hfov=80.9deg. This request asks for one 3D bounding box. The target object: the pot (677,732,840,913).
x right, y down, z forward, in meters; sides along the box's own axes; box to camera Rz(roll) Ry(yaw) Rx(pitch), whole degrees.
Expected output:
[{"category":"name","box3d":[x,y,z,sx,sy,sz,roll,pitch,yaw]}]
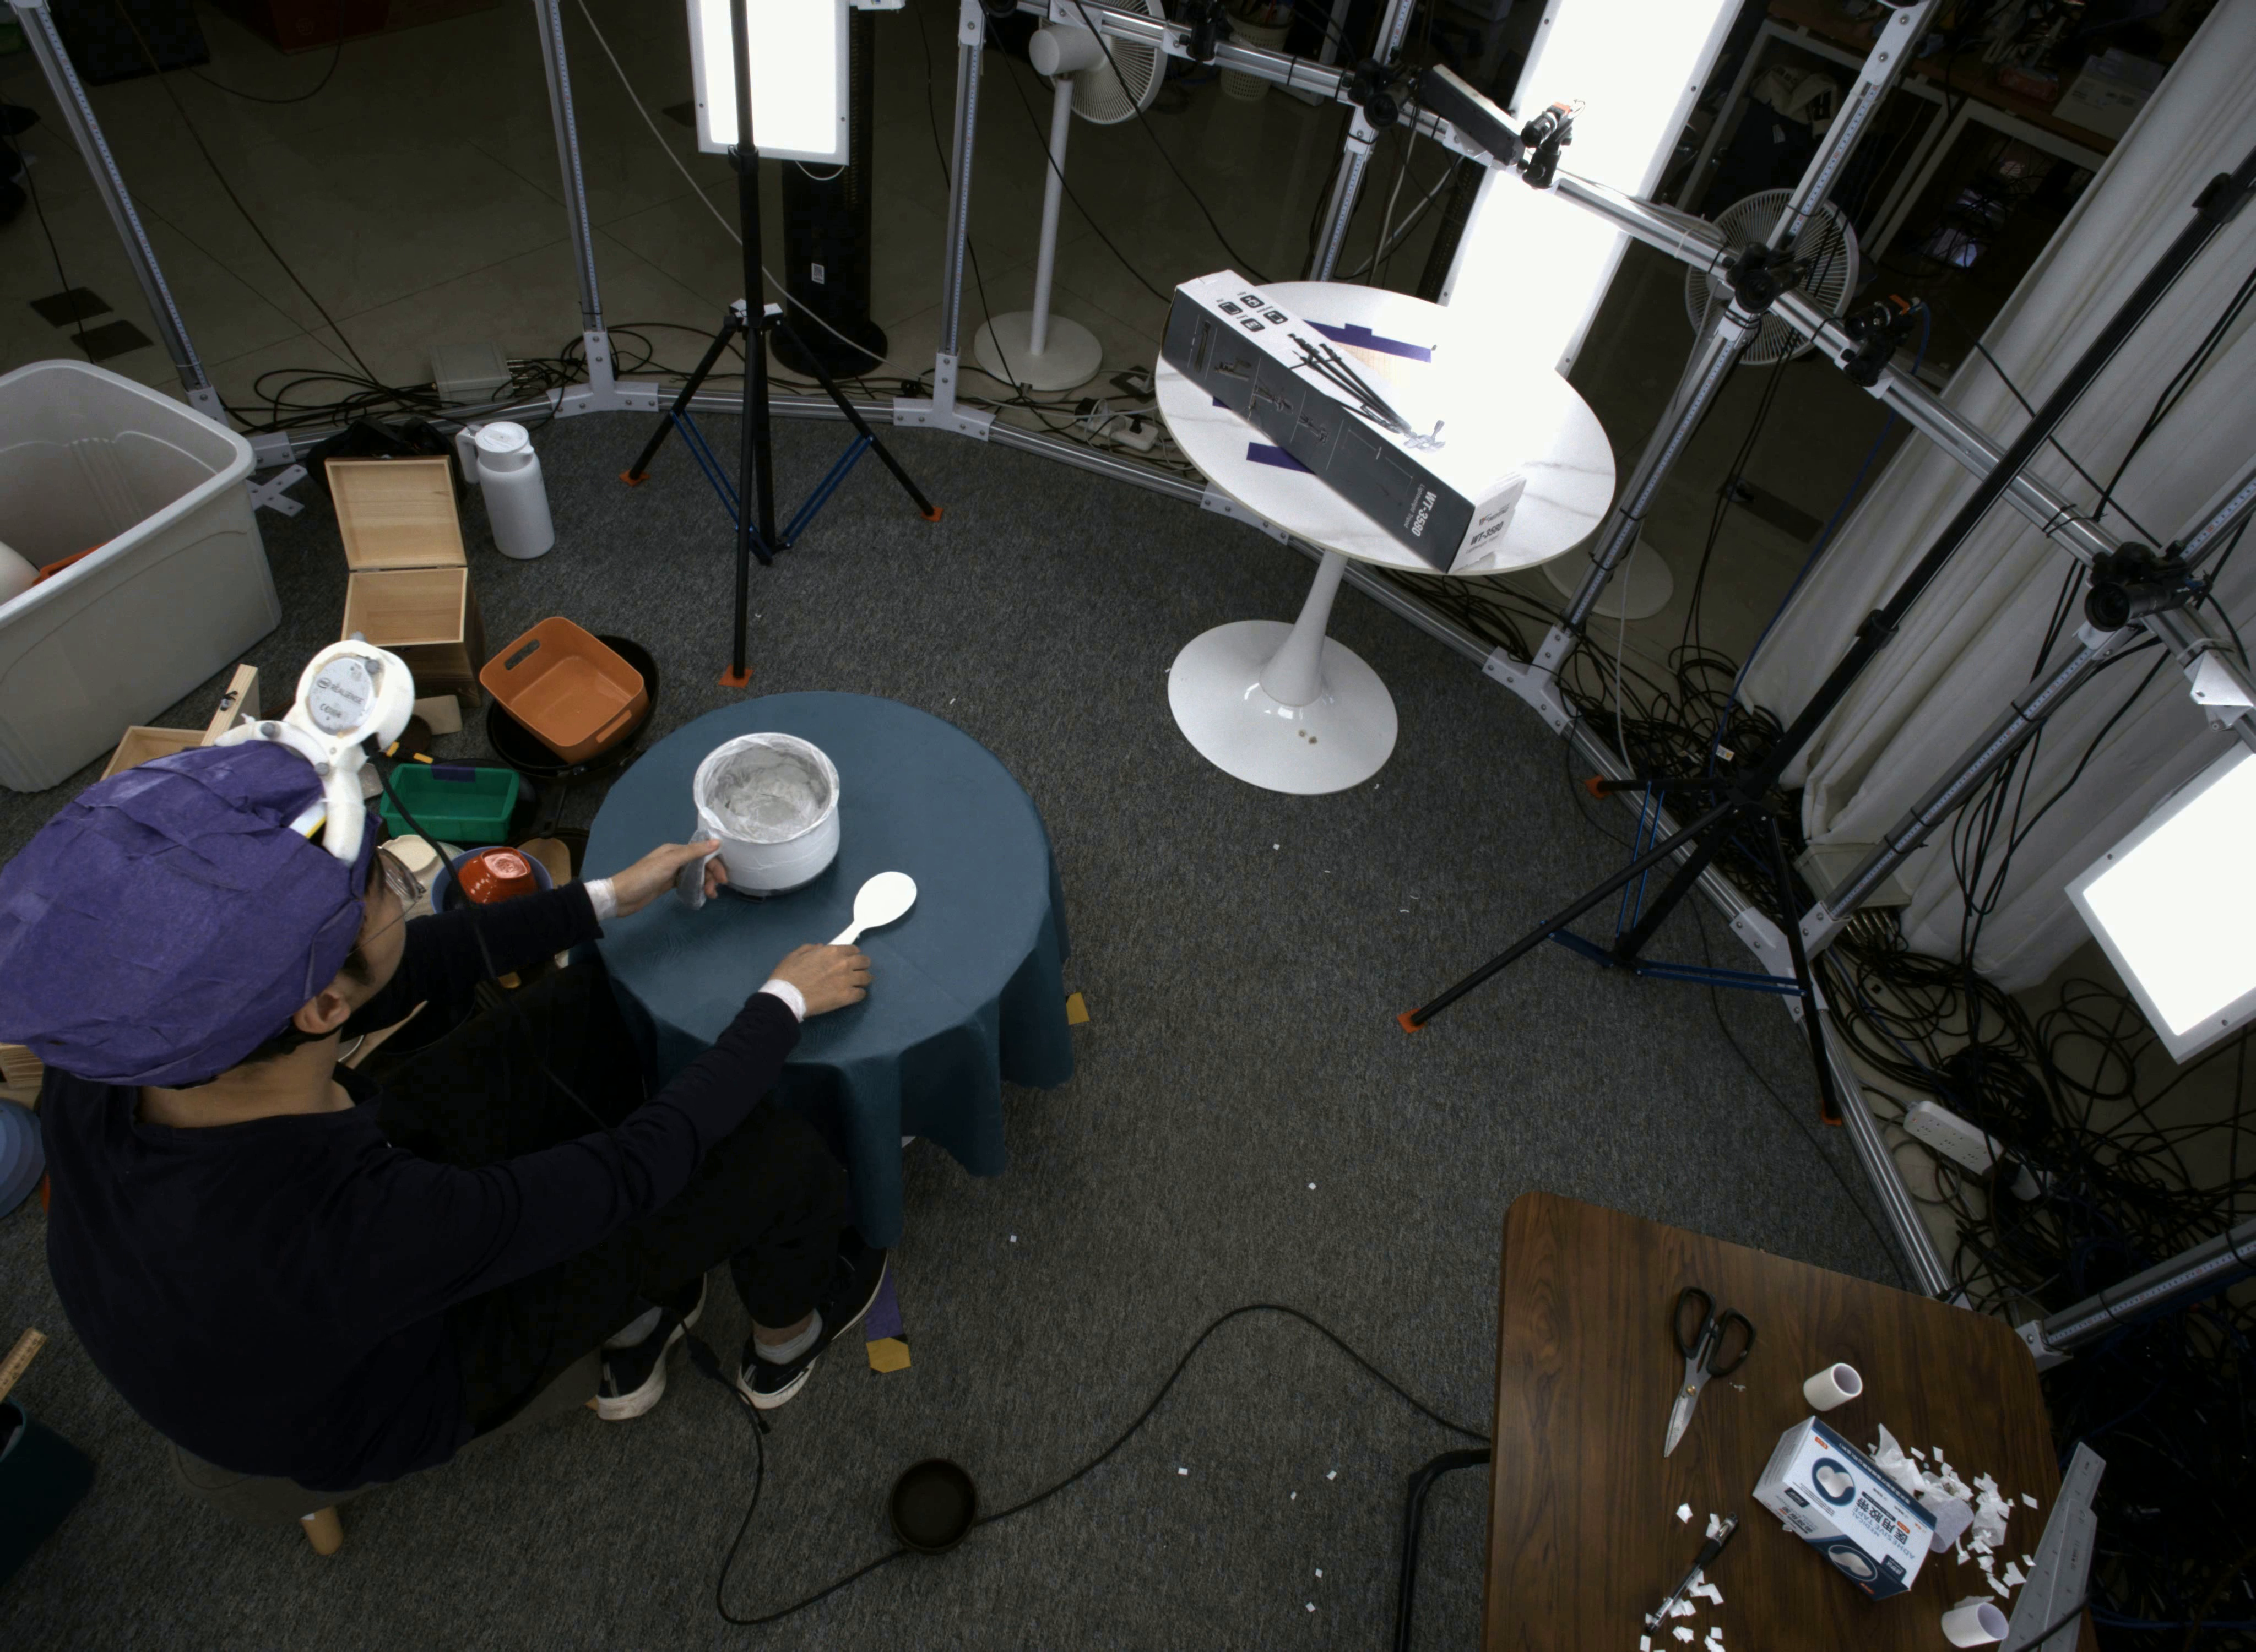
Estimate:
[{"category":"pot","box3d":[-0.475,0.006,1.634,0.175,0.140,0.233,34,55,15]}]

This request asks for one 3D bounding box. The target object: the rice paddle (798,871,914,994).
[{"category":"rice paddle","box3d":[-0.343,0.126,1.644,0.067,0.030,0.204,30,54,9]}]
